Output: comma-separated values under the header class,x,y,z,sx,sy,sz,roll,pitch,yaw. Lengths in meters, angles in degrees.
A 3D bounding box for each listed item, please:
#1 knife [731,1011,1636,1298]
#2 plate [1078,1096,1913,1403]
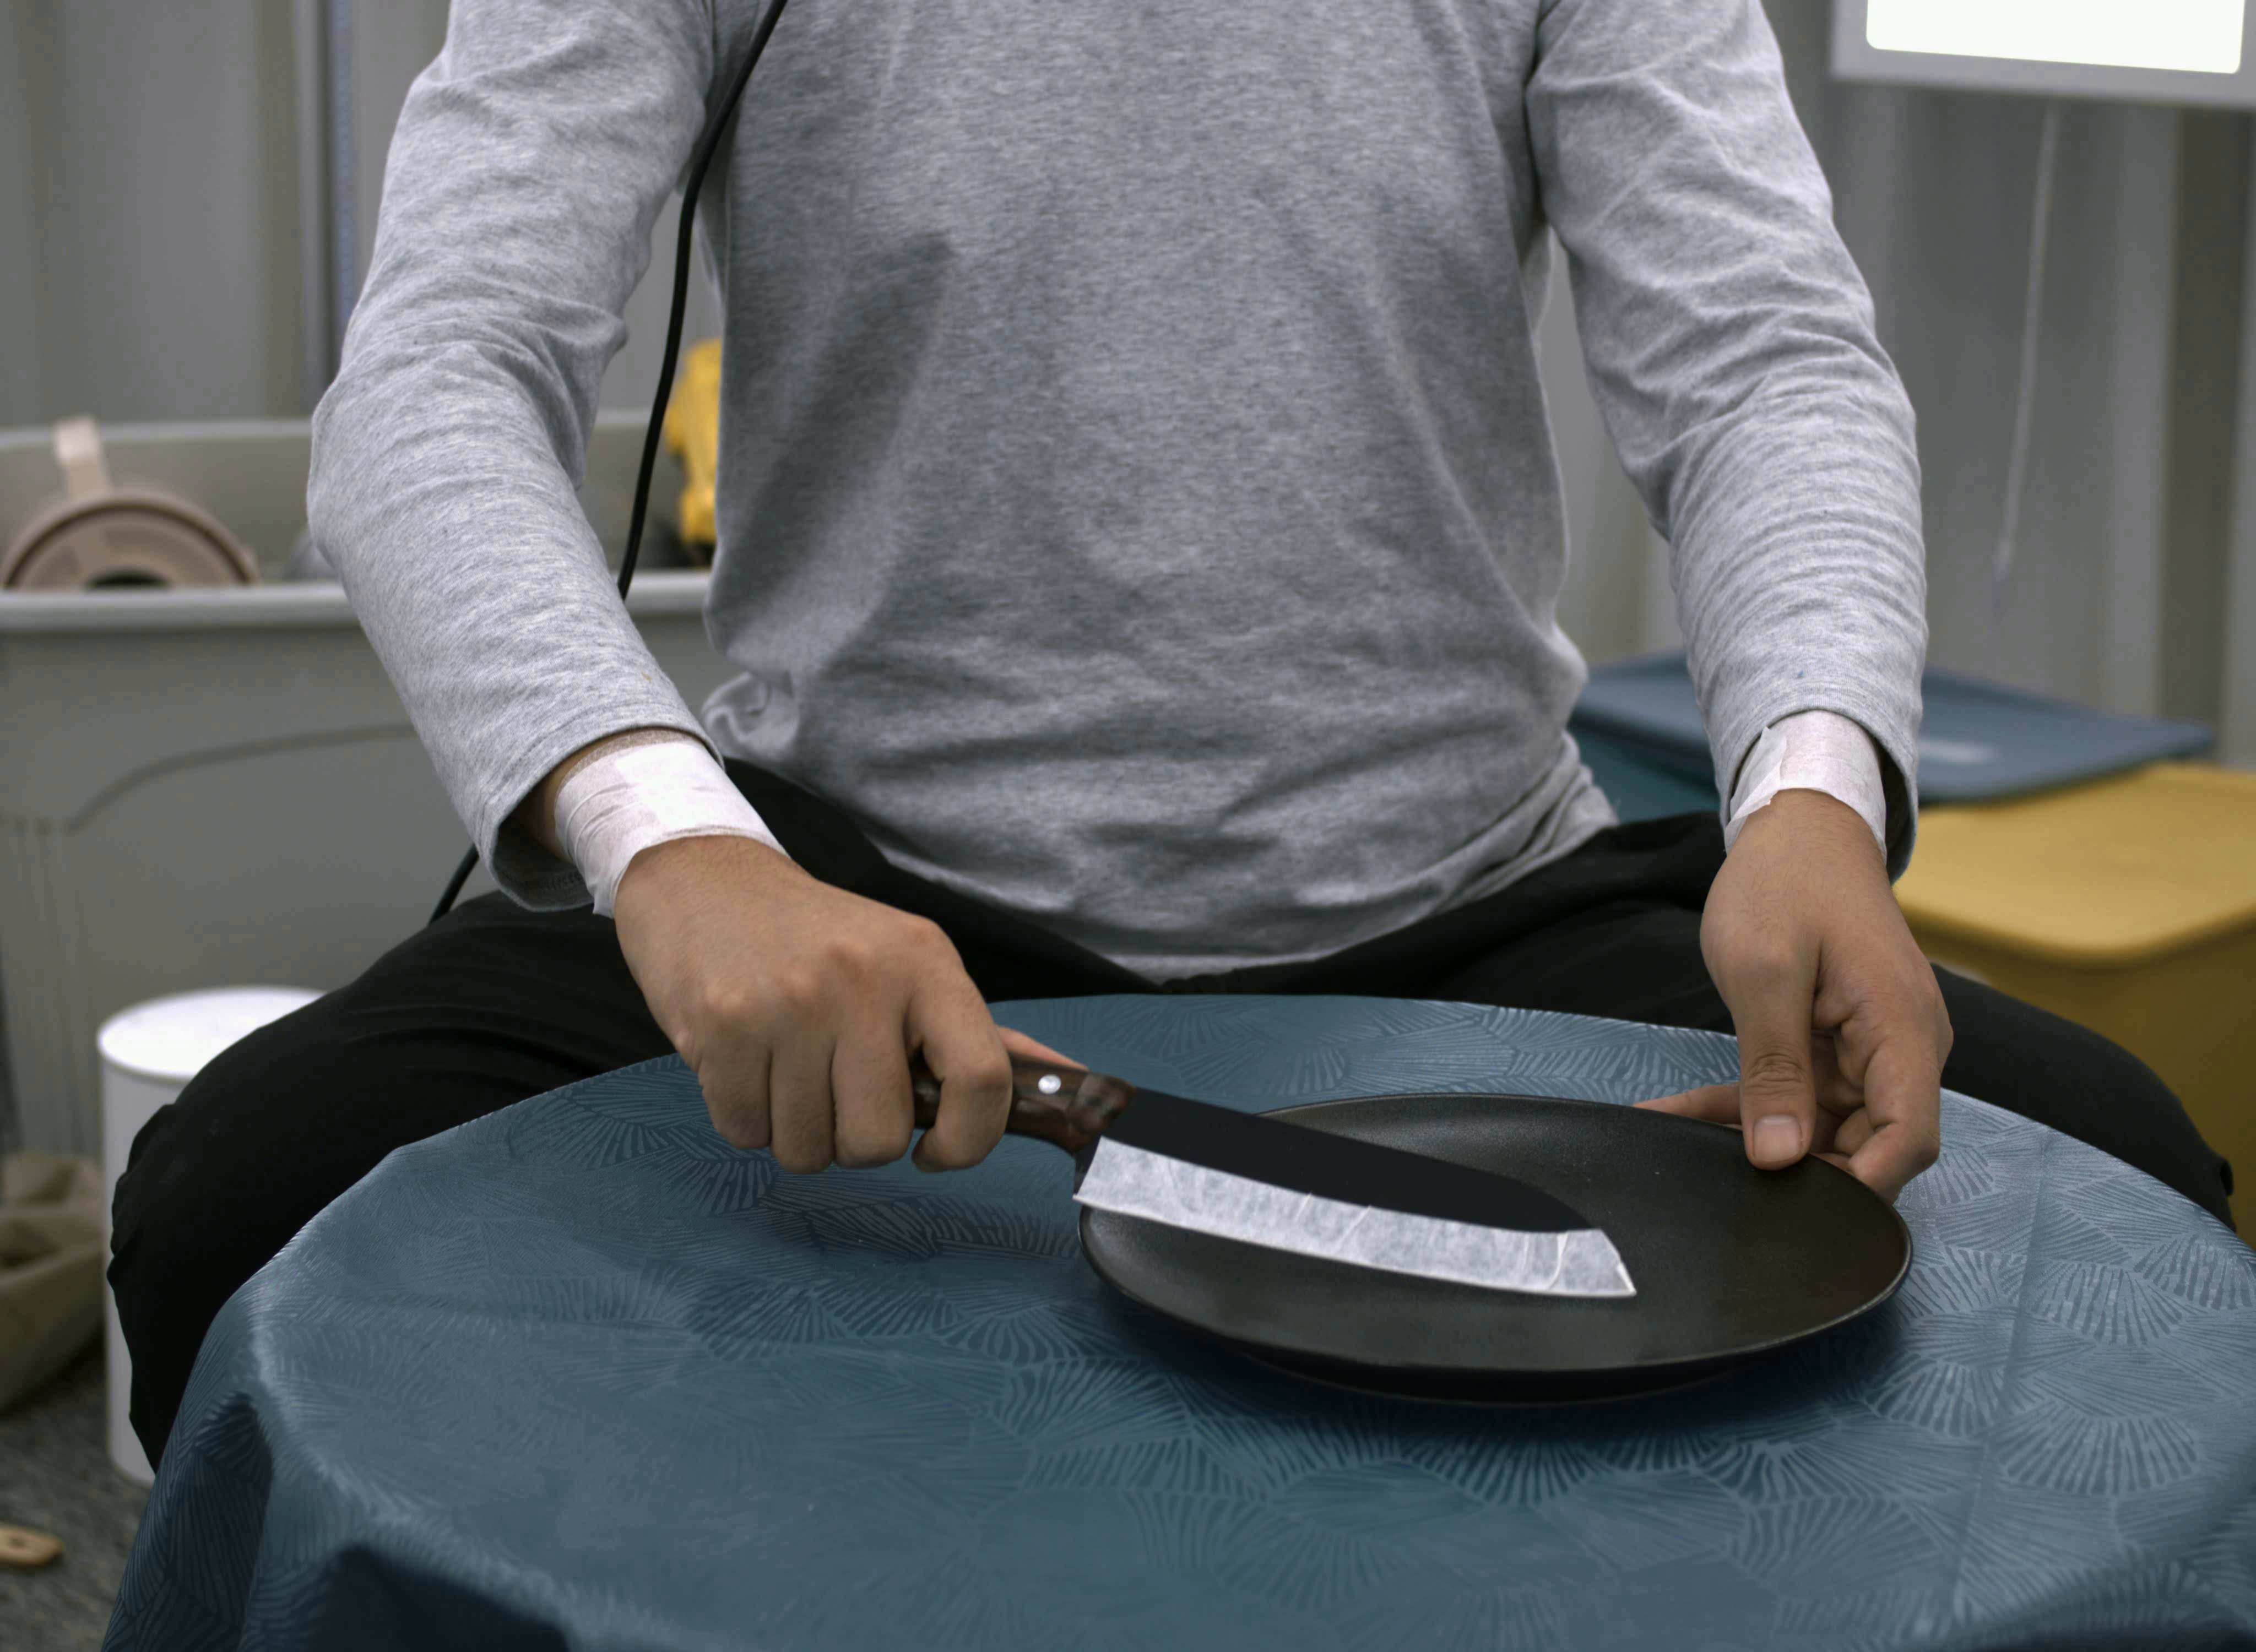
class,x,y,z,sx,sy,sz,roll,pitch,yaw
knife,0.013,0.097,1.549,0.286,0.020,0.050,14,57,15
plate,0.106,0.126,1.538,0.243,0.023,0.243,1,15,0
